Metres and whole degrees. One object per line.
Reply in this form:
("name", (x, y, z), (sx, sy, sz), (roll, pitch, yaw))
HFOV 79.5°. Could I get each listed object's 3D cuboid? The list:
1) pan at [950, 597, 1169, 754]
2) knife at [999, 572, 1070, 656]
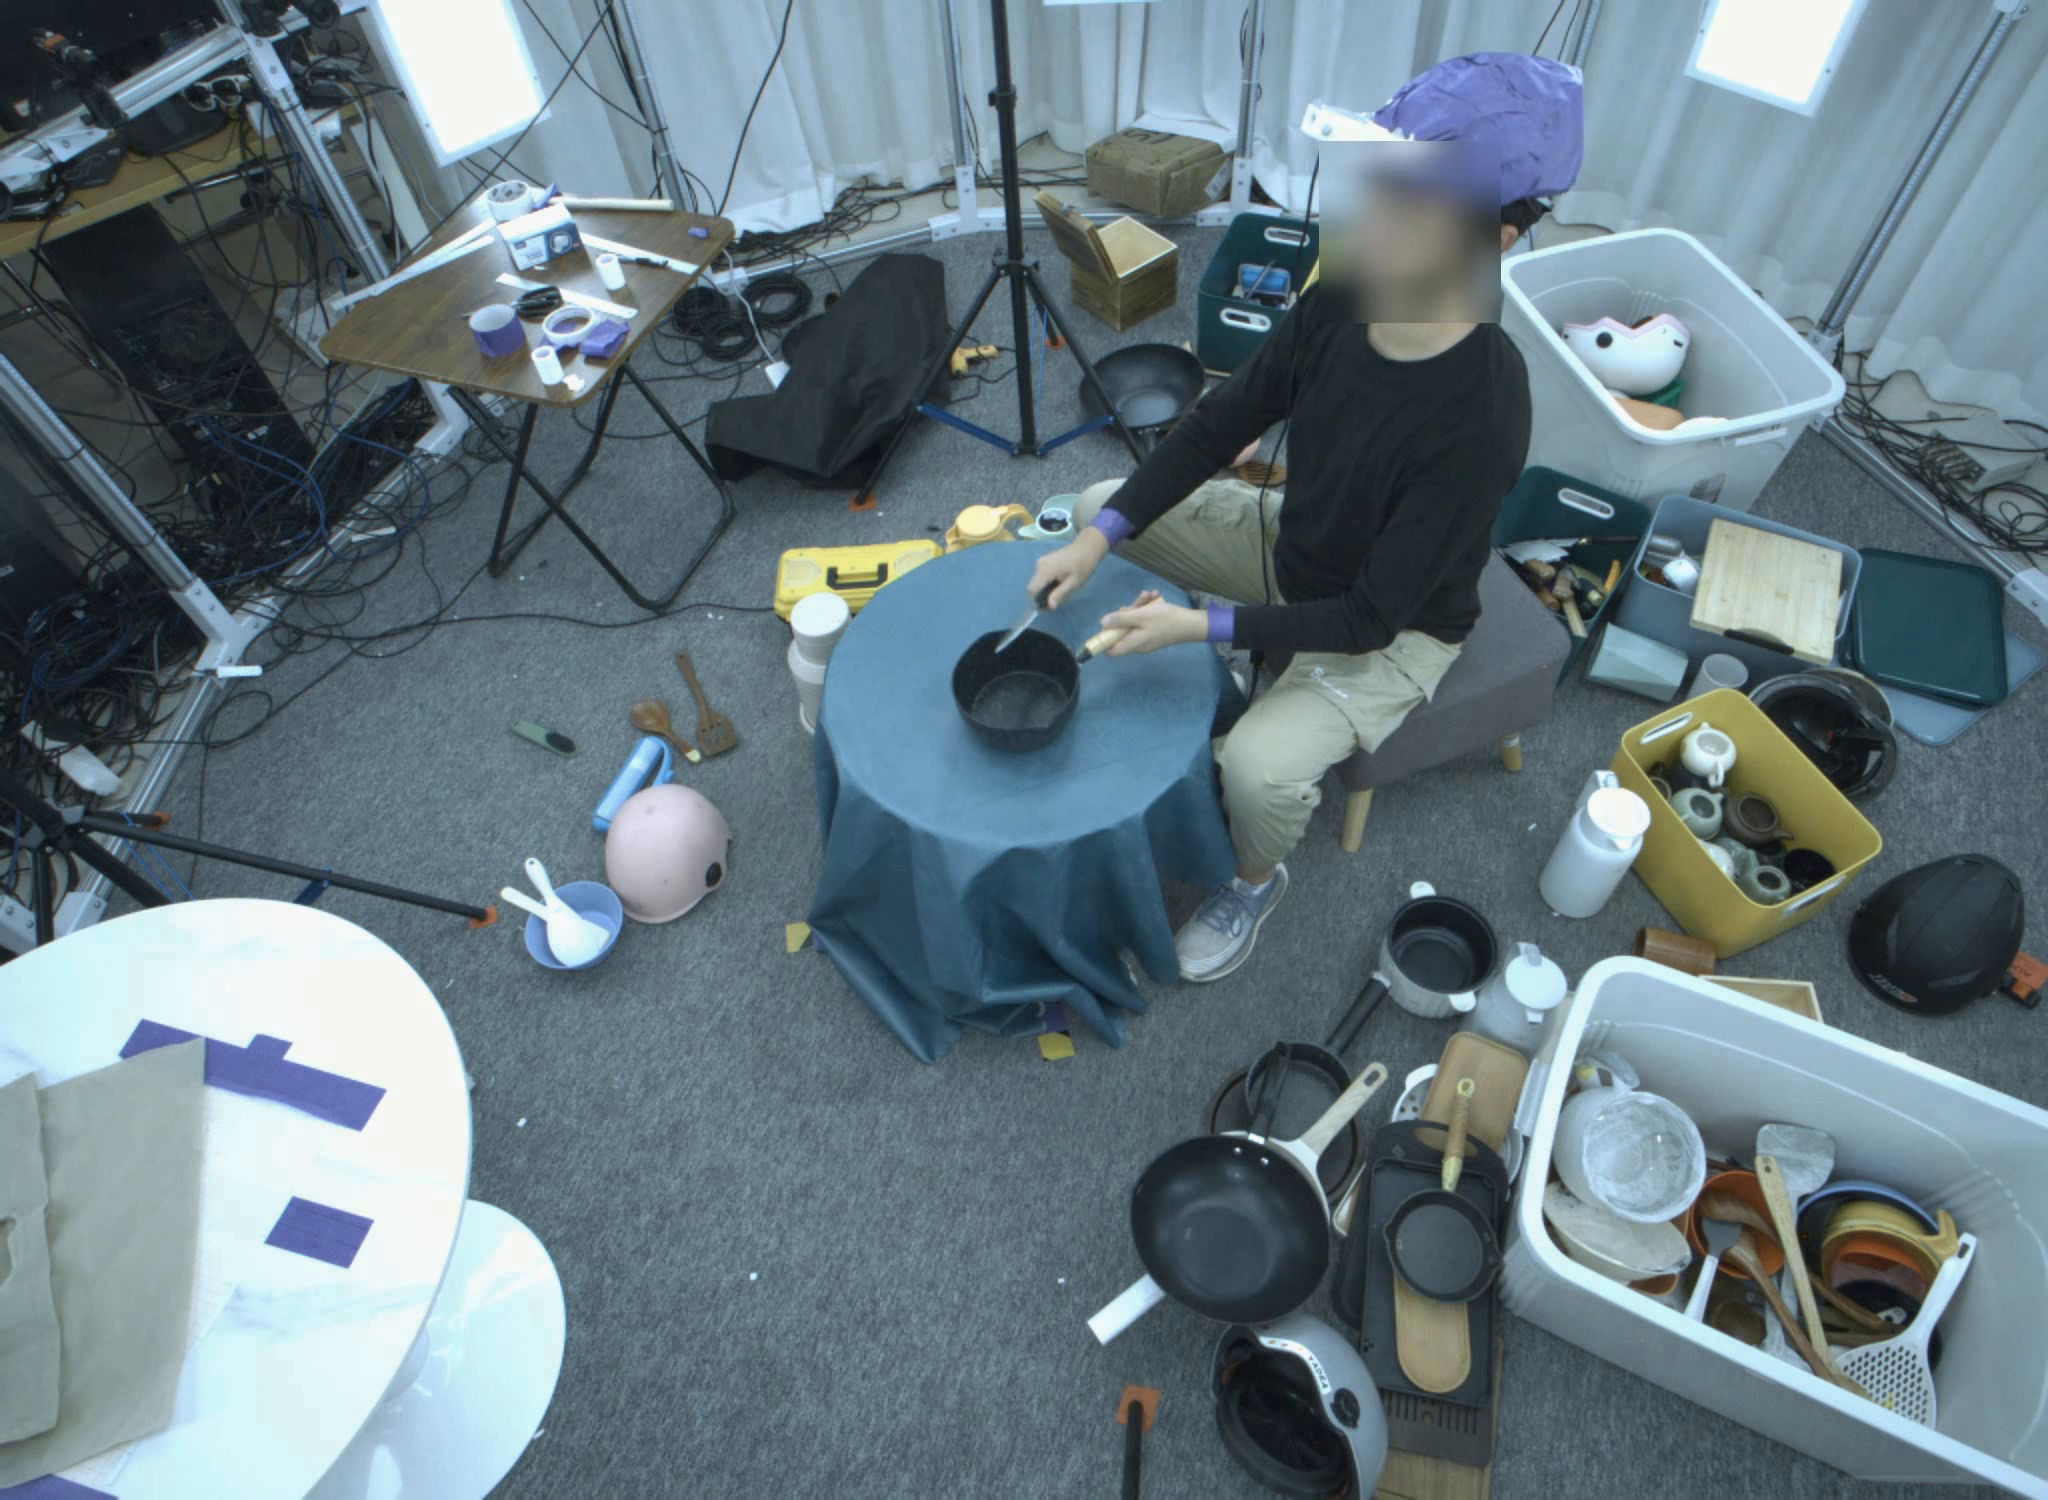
("pan", (0.059, -0.121, 1.793), (0.345, 0.109, 0.203), (-27, 58, -11))
("knife", (0.013, -0.202, 1.814), (0.024, 0.016, 0.239), (4, 37, 29))
